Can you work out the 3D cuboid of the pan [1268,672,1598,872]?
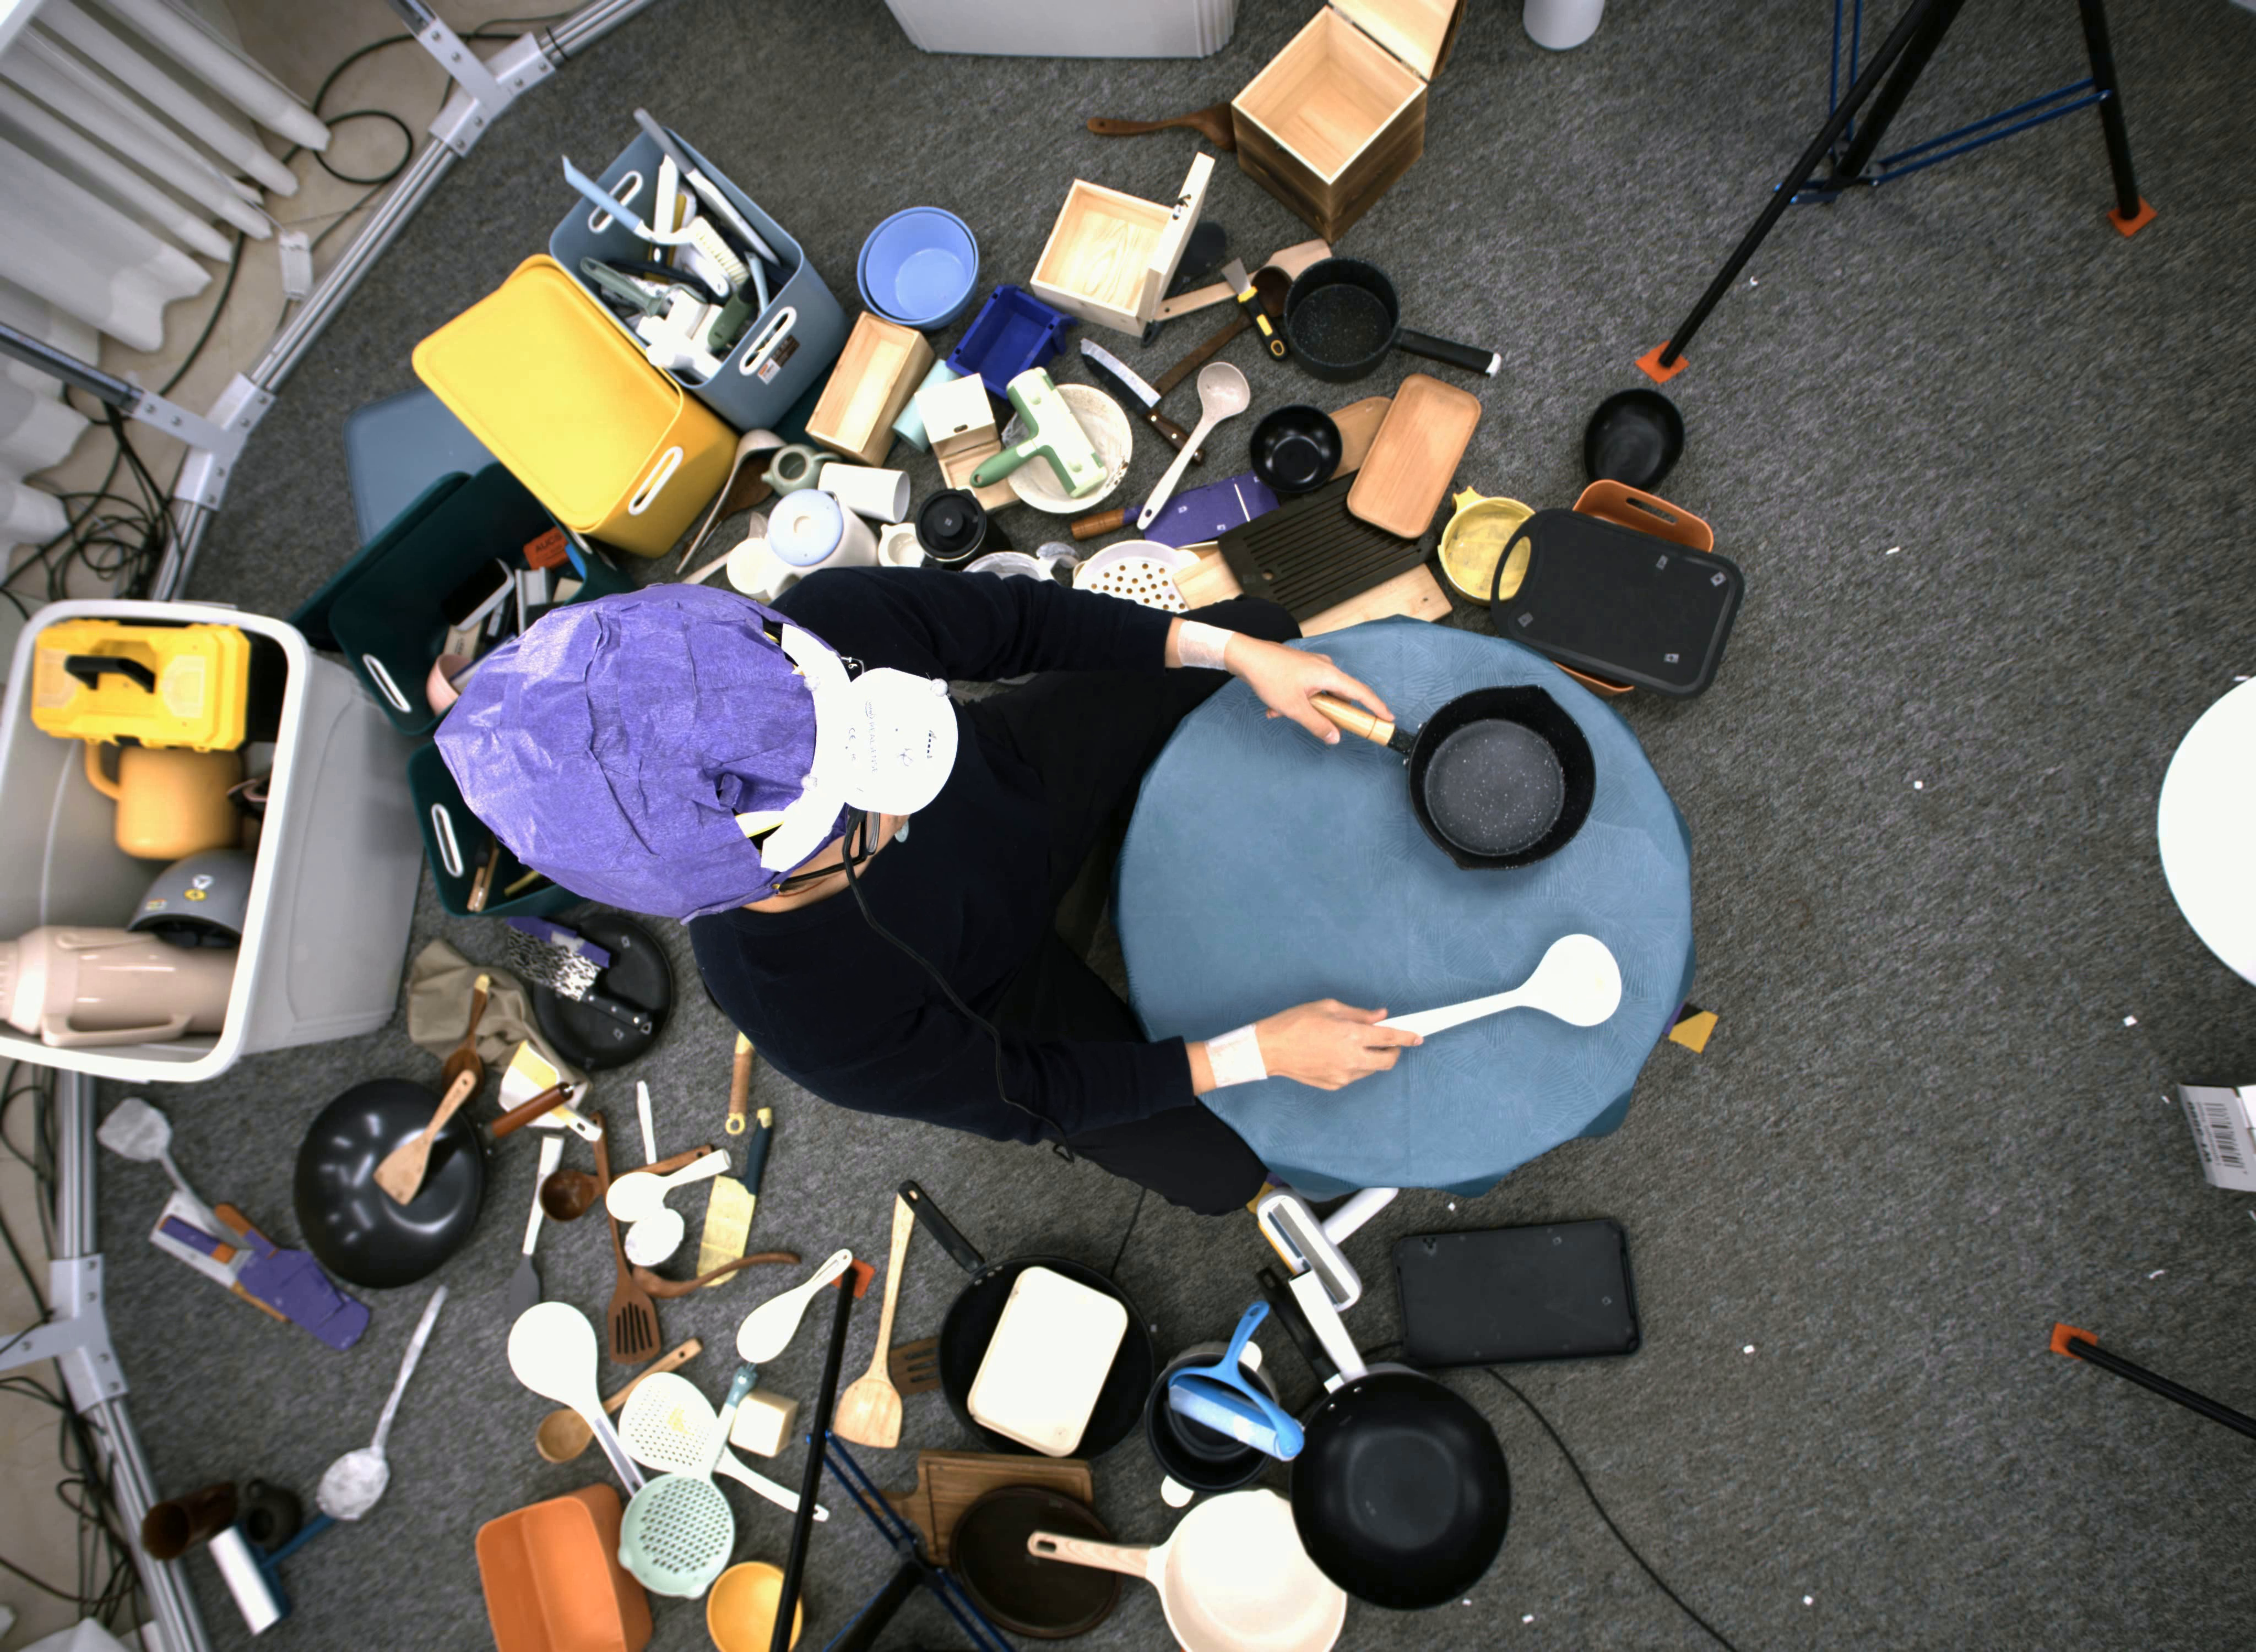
[{"bbox_3d":[0.304,-0.076,1.407,0.343,0.108,0.207,22,91,9],"label":"pan"}]

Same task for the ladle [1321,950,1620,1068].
[{"bbox_3d":[0.340,0.193,1.382,0.293,0.070,0.090,-13,86,1],"label":"ladle"}]
